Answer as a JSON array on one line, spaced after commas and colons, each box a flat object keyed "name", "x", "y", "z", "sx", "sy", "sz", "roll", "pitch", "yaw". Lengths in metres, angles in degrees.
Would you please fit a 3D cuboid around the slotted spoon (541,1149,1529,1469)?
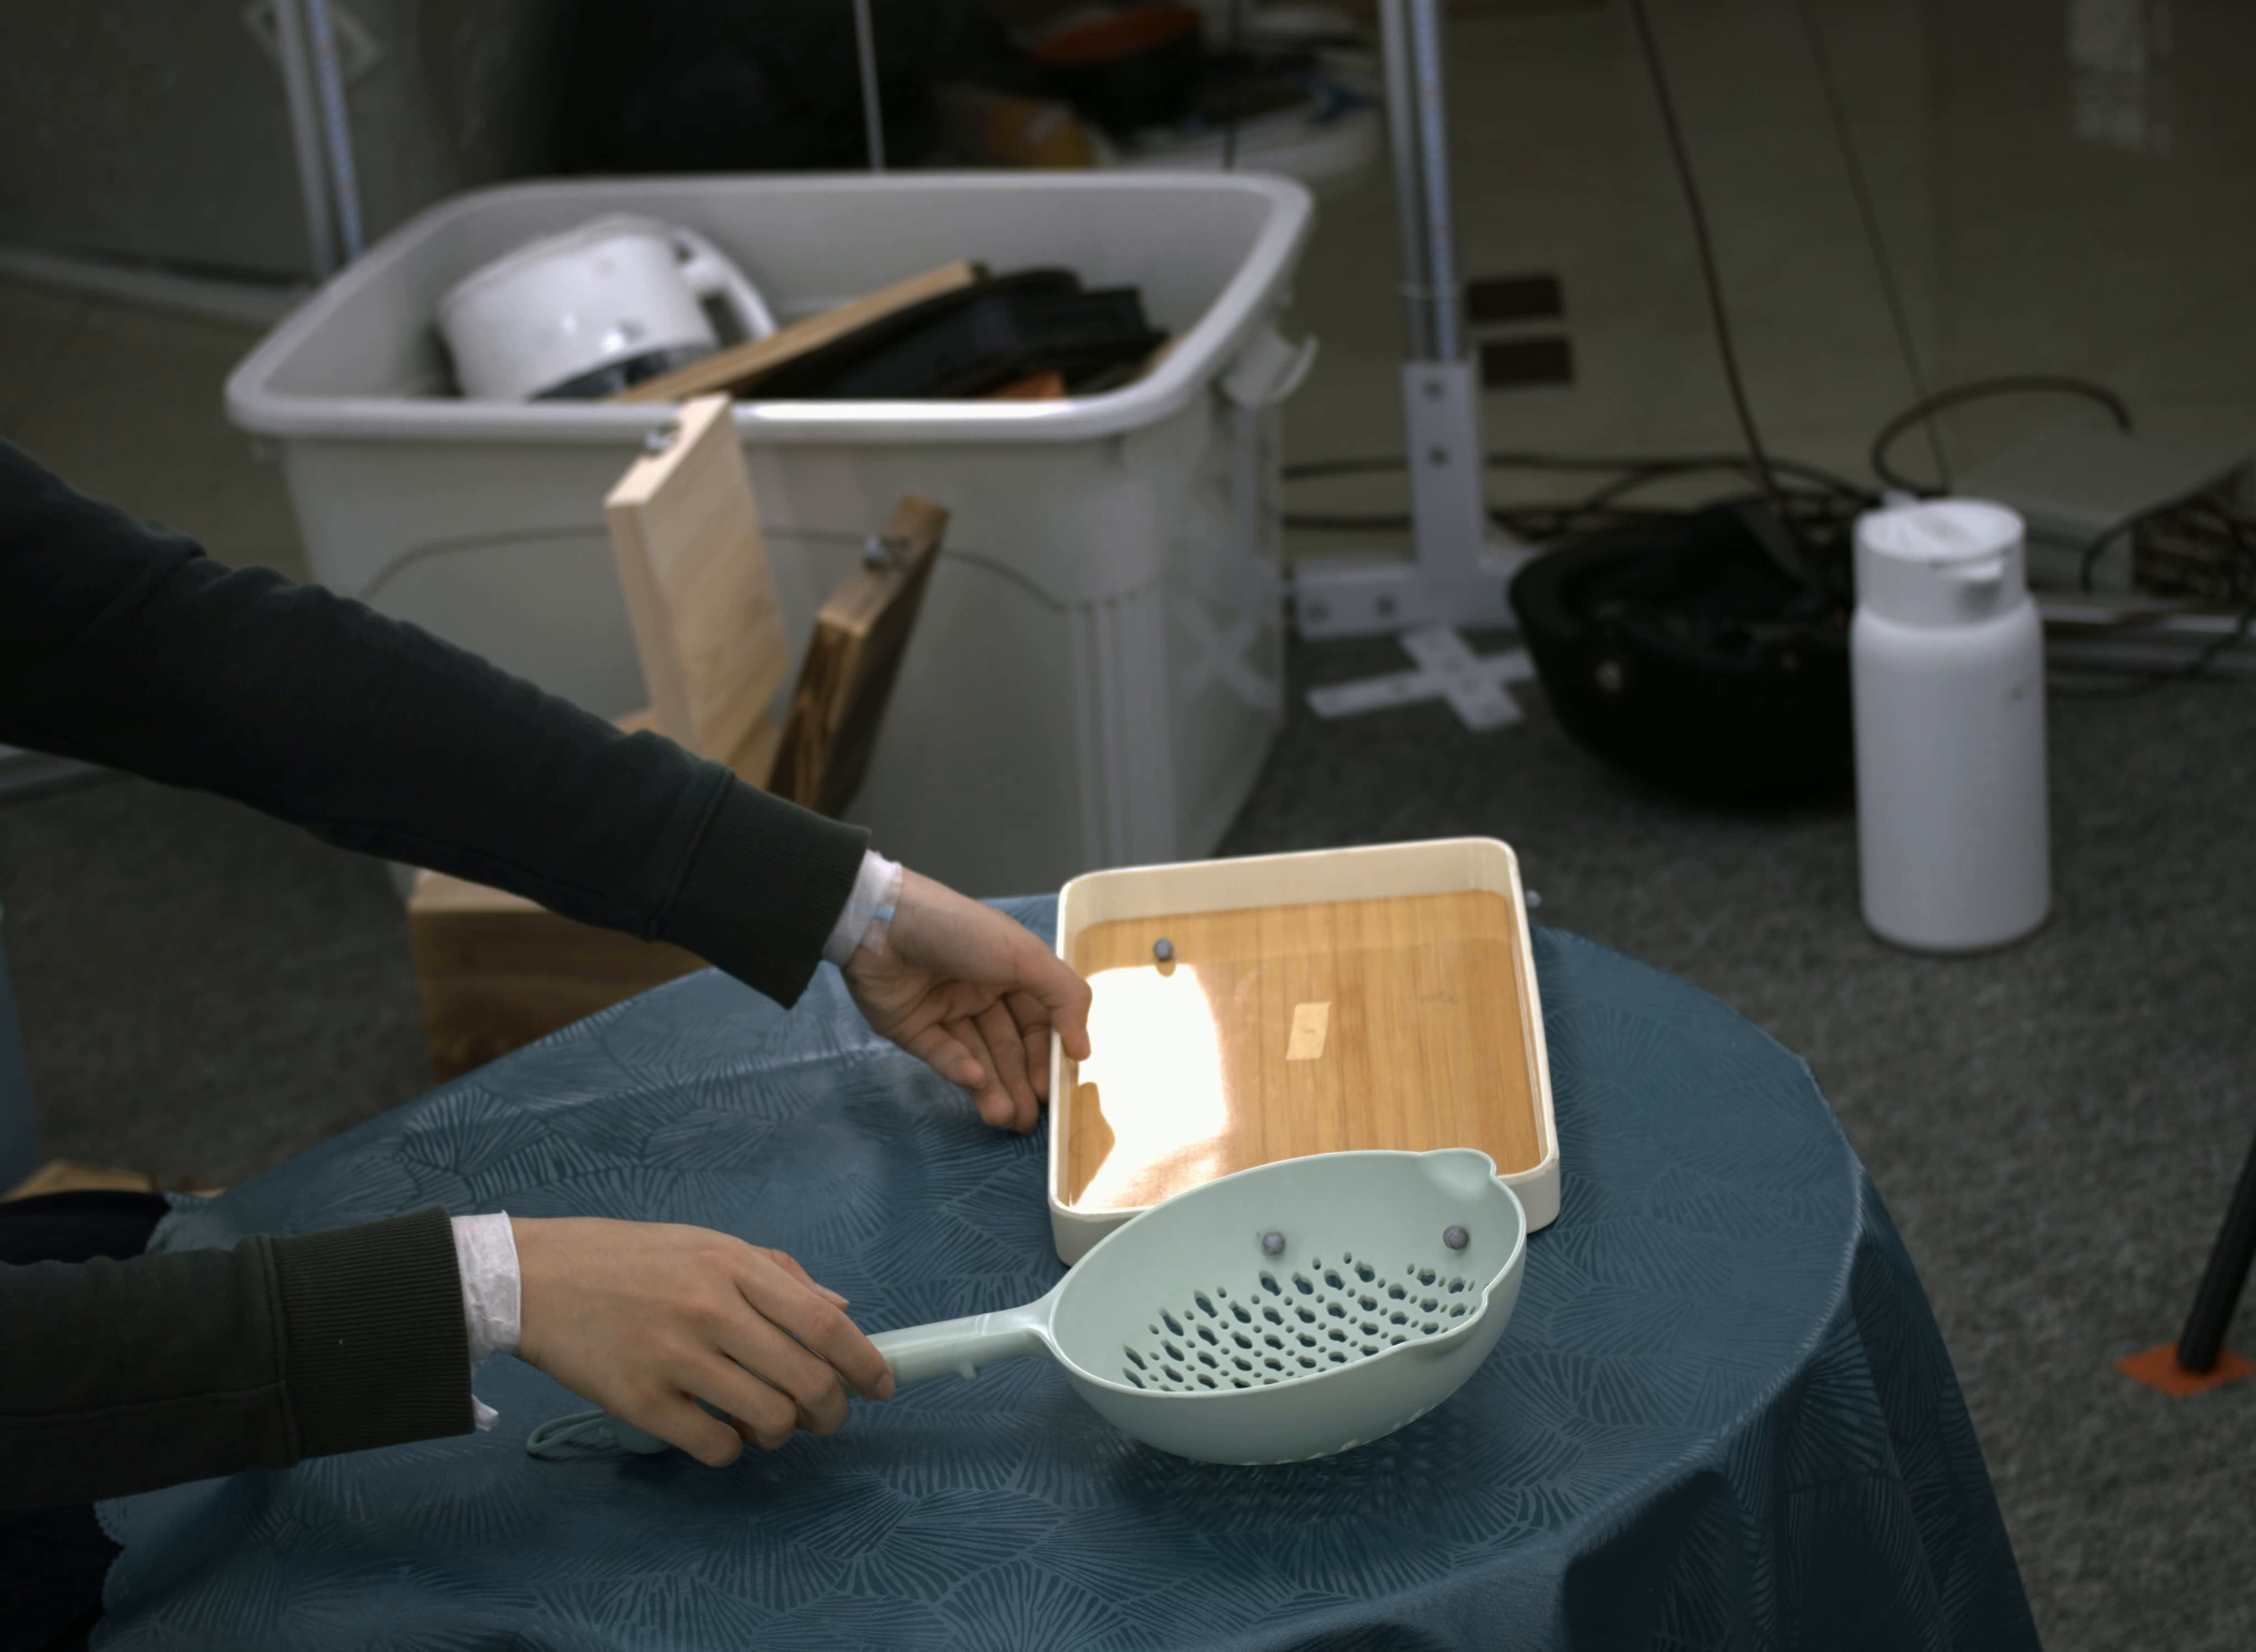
[{"name": "slotted spoon", "x": -0.036, "y": 0.183, "z": 1.990, "sx": 0.358, "sy": 0.076, "sz": 0.167, "roll": -3, "pitch": 23, "yaw": 7}]

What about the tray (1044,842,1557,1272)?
[{"name": "tray", "x": 0.065, "y": 0.086, "z": 2.219, "sx": 0.191, "sy": 0.028, "sz": 0.296, "roll": -5, "pitch": 24, "yaw": 3}]
